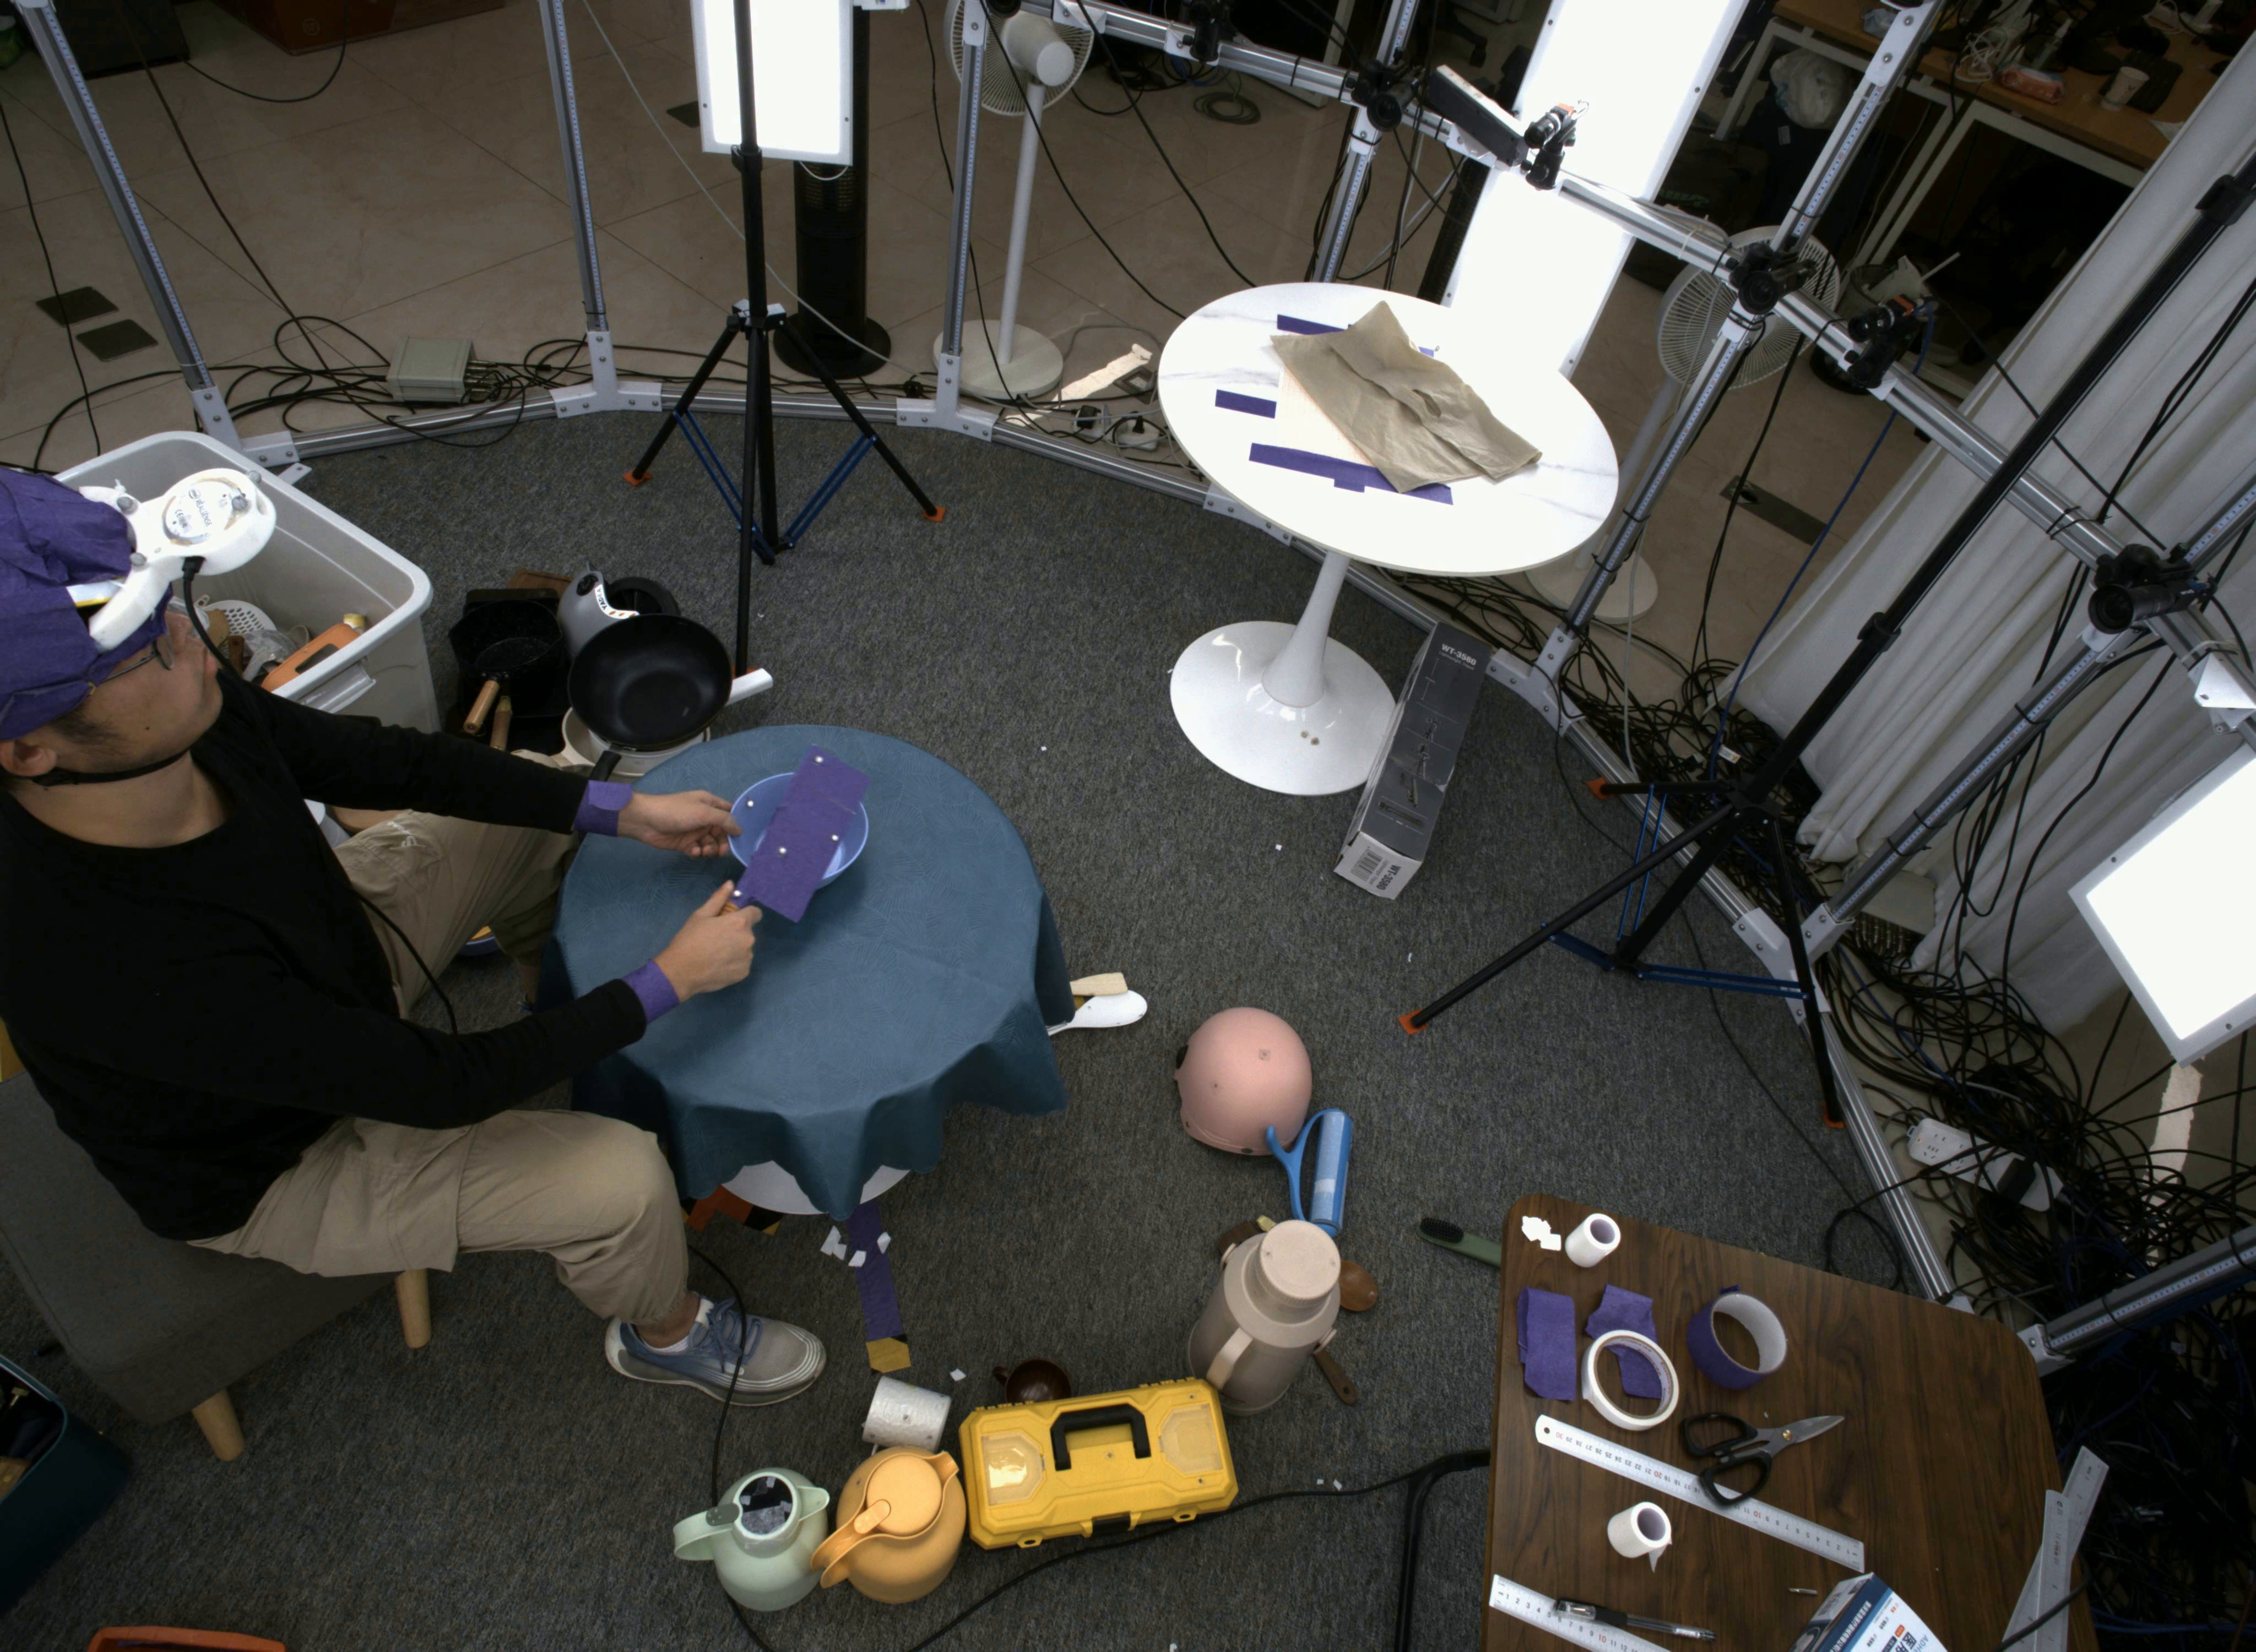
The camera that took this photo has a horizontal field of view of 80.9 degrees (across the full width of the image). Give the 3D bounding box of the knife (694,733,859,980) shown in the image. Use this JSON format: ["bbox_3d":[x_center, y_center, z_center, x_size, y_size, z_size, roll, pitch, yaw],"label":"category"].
[{"bbox_3d":[-0.417,0.047,1.564,0.107,0.031,0.315,32,72,-31],"label":"knife"}]

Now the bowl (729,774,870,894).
[{"bbox_3d":[-0.419,0.019,1.663,0.175,0.072,0.173,6,52,-7],"label":"bowl"}]
